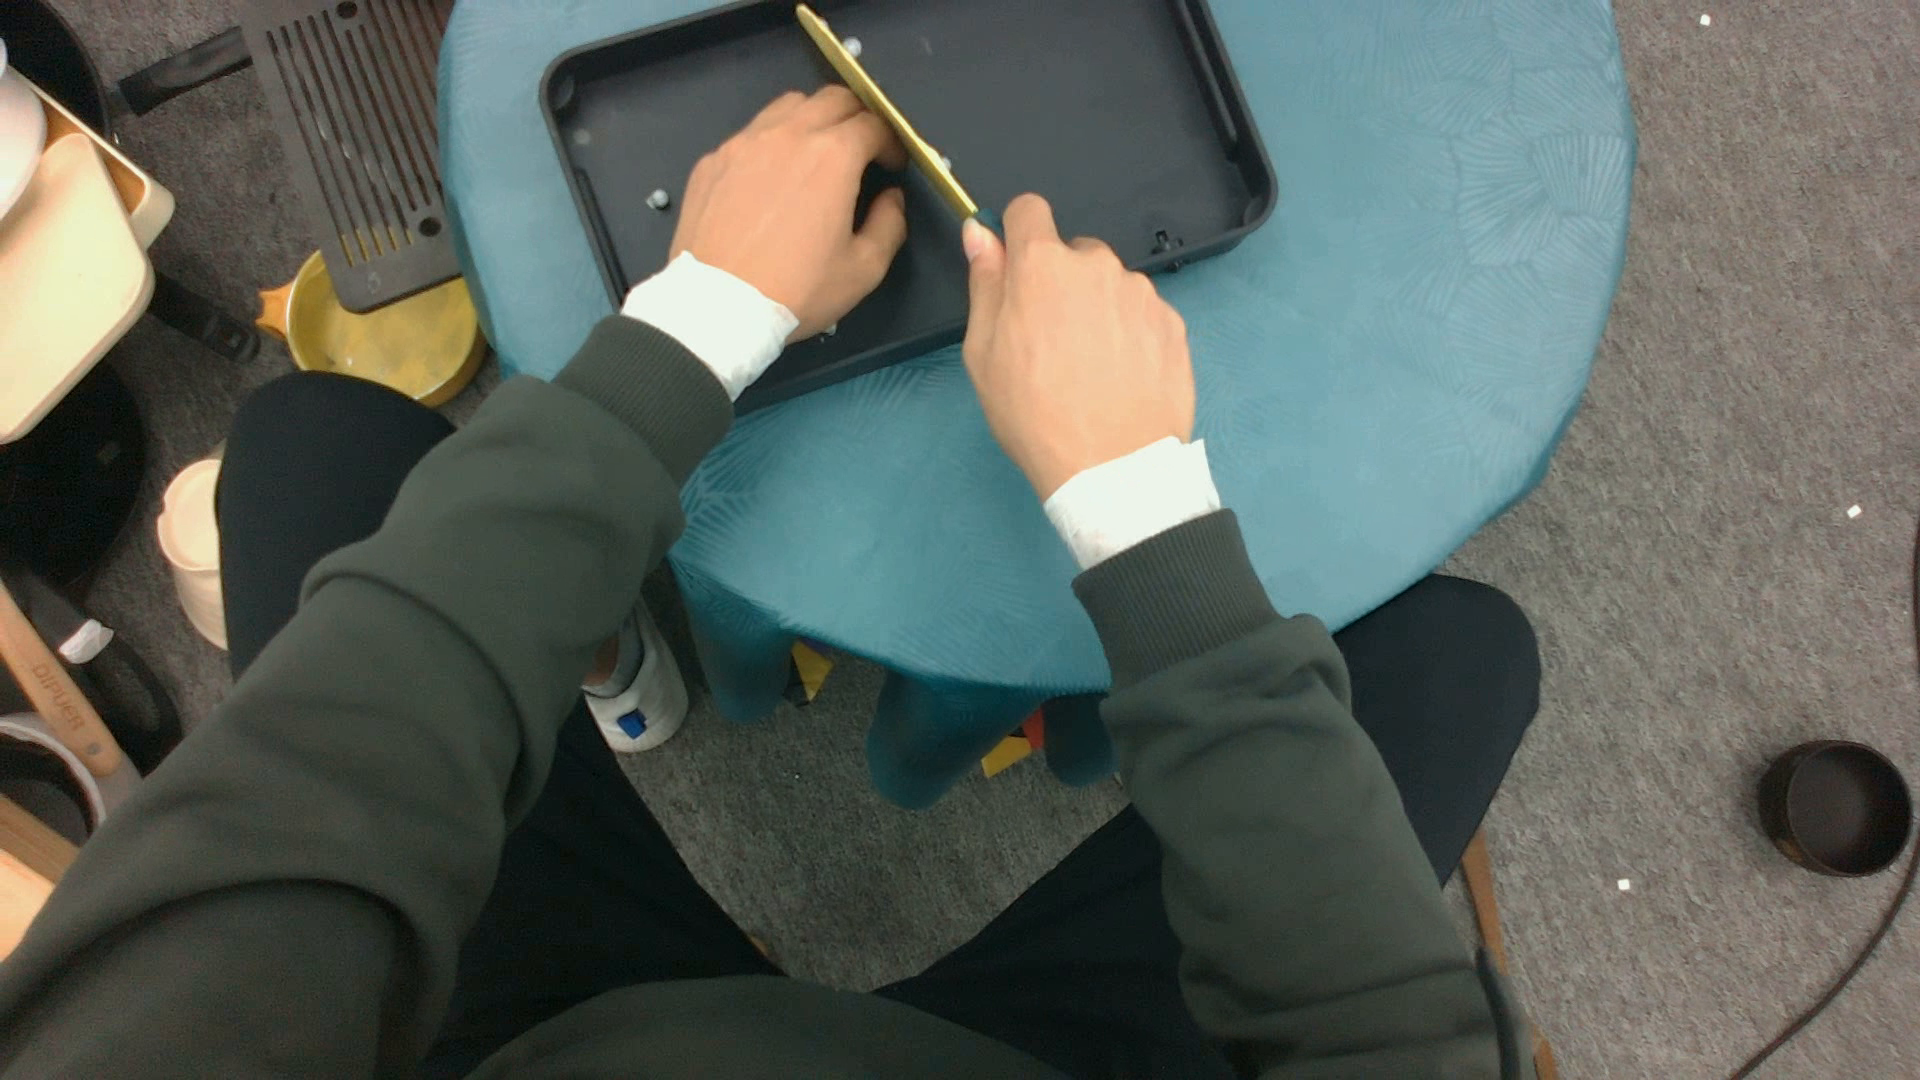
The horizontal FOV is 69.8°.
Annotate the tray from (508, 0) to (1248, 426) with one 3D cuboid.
[{"bbox_3d":[-0.036,-0.188,0.664,0.318,0.037,0.184,-22,85,-8],"label":"tray"}]

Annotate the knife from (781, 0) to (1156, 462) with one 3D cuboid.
[{"bbox_3d":[-0.004,-0.148,0.627,0.027,0.081,0.290,-37,76,5],"label":"knife"}]
